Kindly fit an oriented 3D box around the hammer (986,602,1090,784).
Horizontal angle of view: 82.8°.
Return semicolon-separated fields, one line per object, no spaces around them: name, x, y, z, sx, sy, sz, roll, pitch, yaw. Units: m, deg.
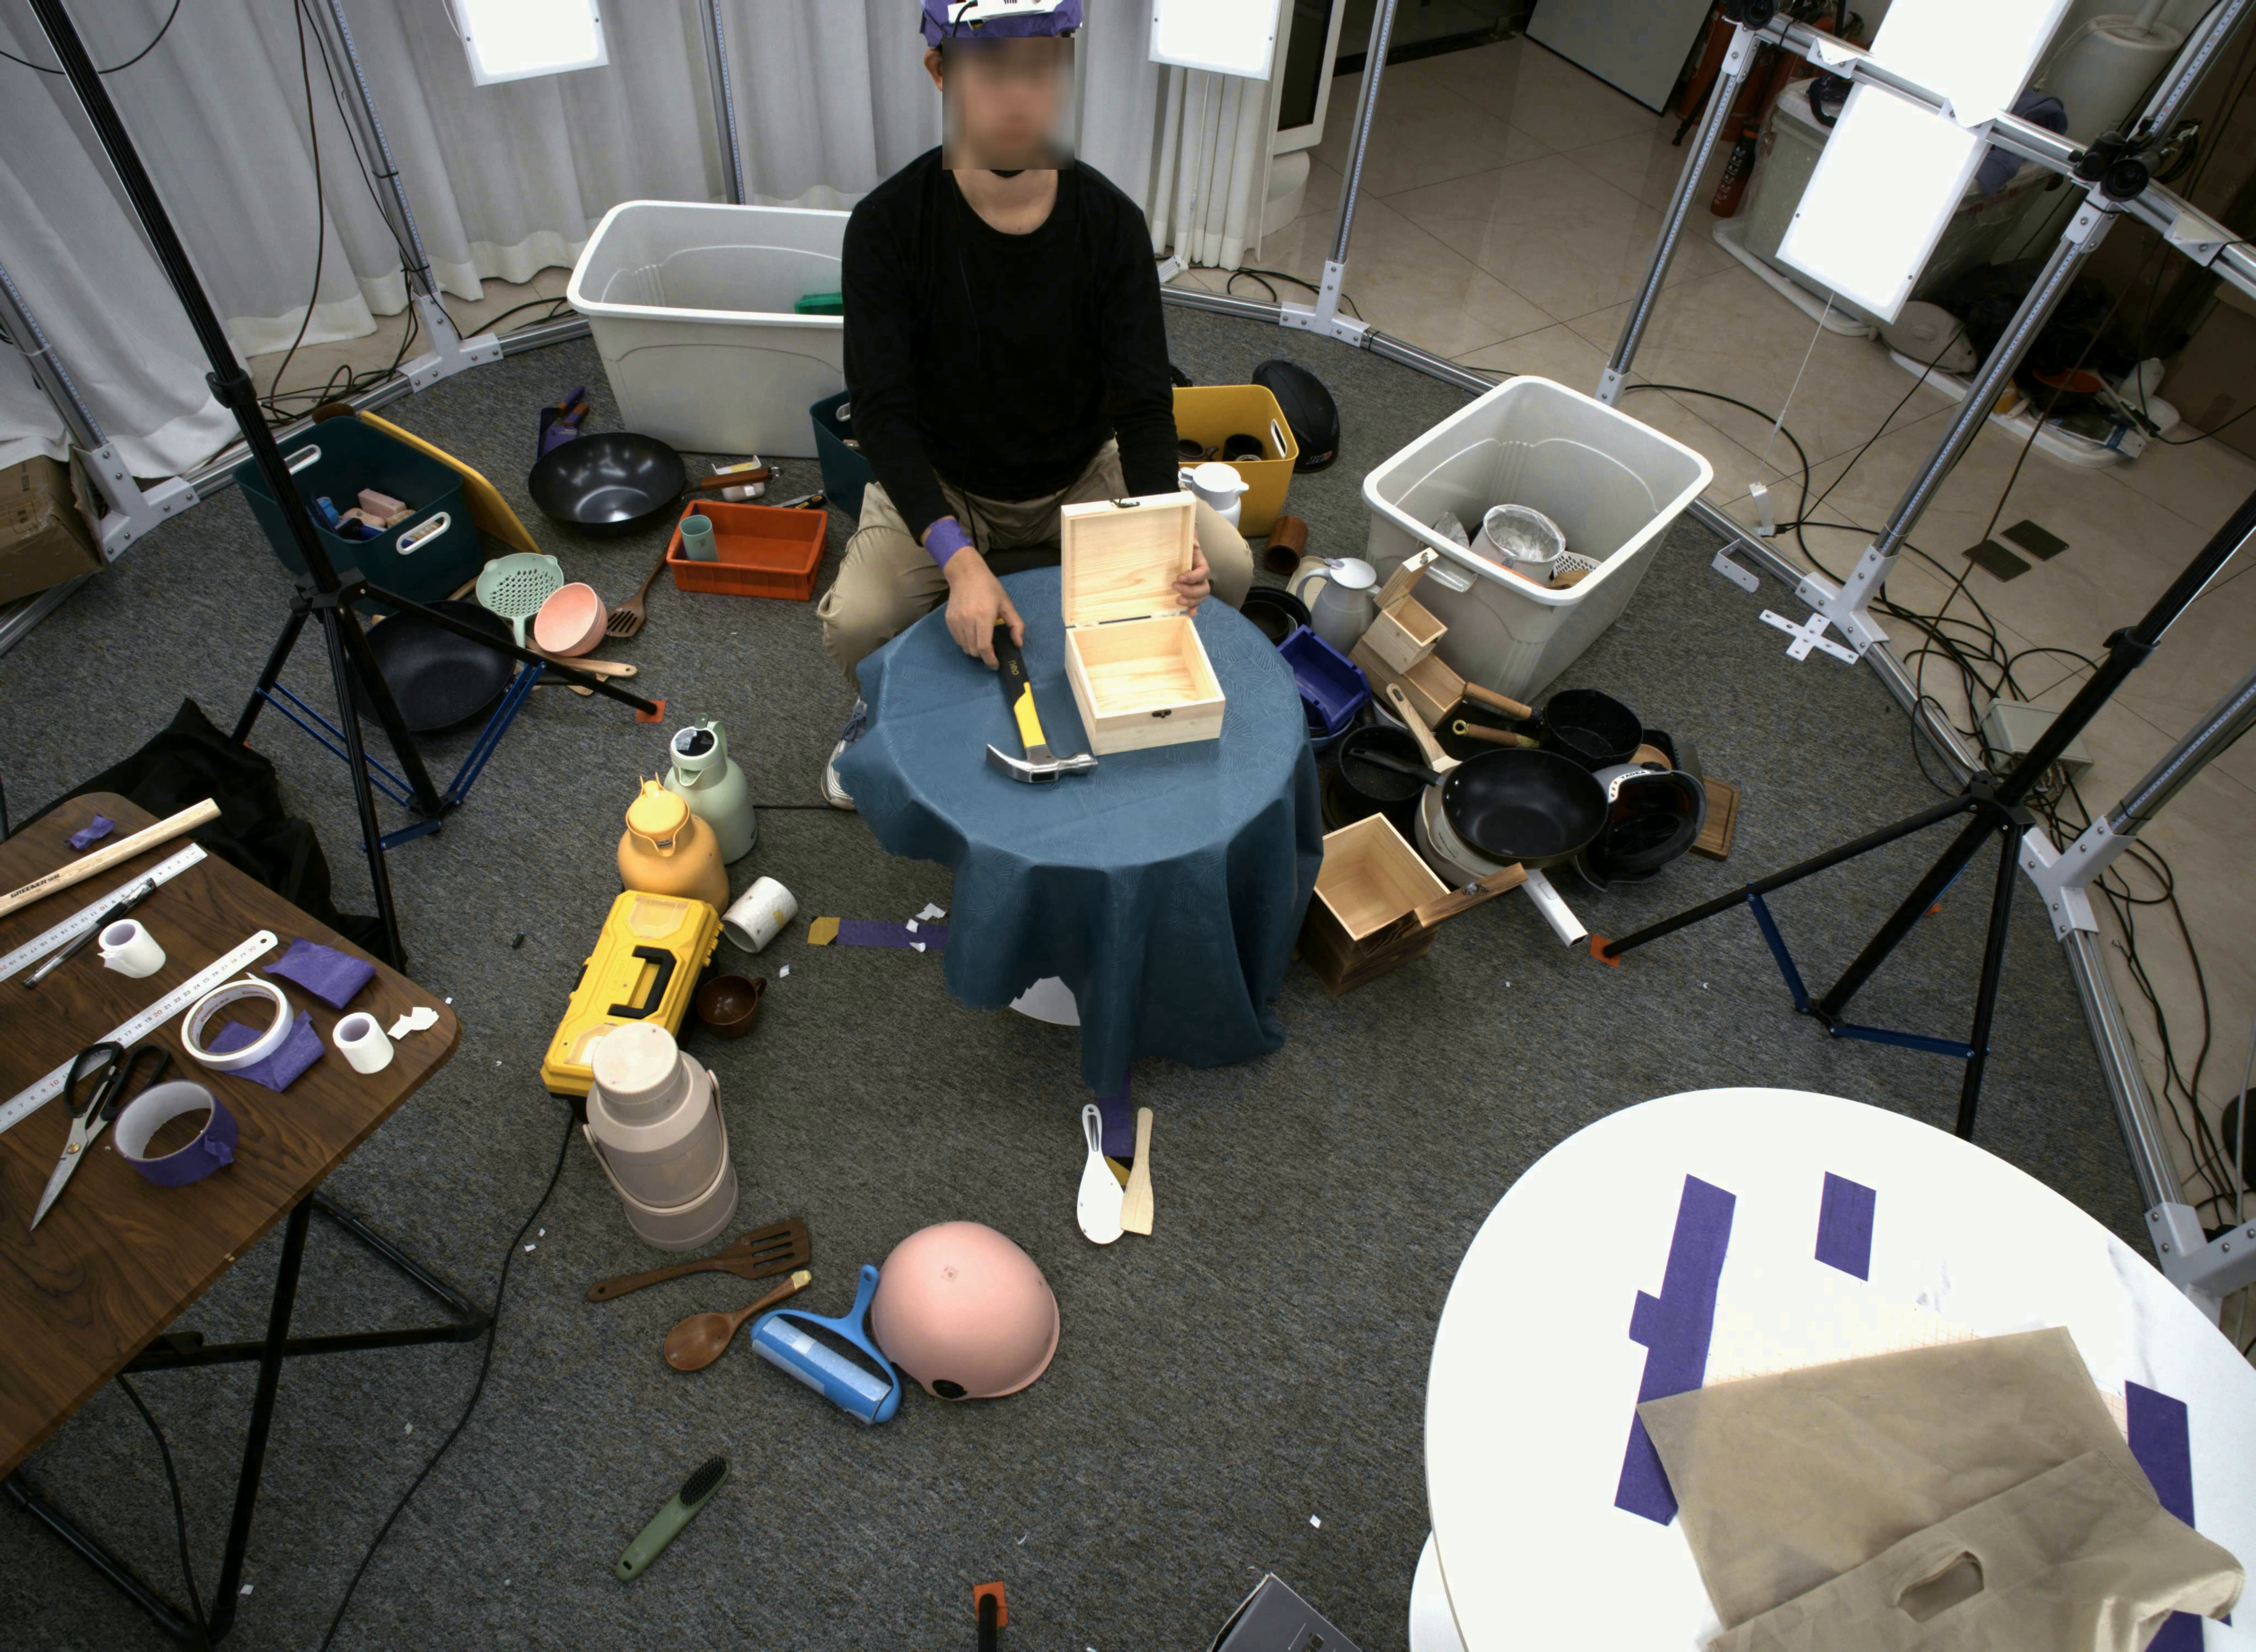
hammer;-0.152;-0.195;1.805;0.131;0.031;0.347;-8;51;-11

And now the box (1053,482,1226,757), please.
box;0.016;-0.281;1.753;0.181;0.247;0.272;-11;51;-10
